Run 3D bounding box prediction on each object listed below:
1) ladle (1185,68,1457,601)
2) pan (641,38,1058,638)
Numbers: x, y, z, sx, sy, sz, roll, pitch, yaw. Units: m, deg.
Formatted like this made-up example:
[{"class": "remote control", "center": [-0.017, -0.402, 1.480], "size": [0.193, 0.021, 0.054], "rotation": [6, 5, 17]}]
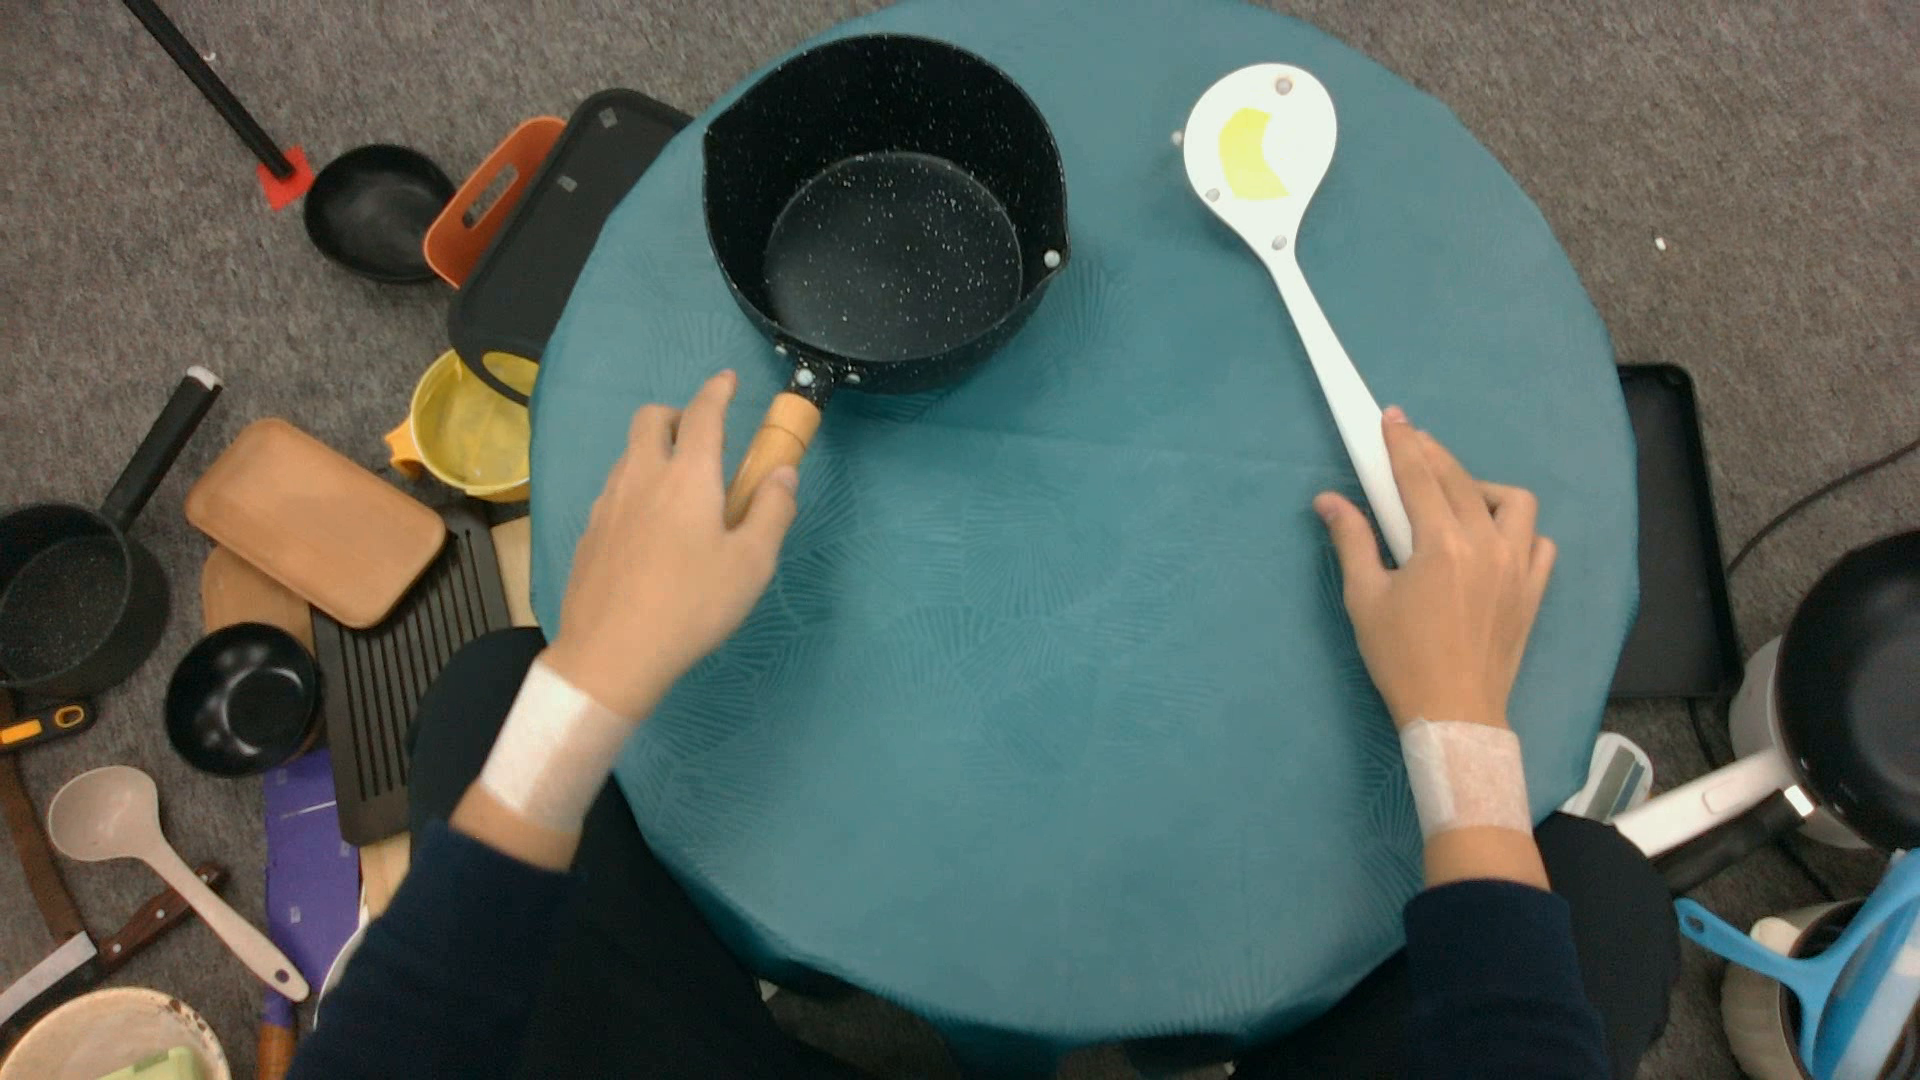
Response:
[{"class": "ladle", "center": [0.200, -0.112, 0.738], "size": [0.090, 0.069, 0.293], "rotation": [-15, 74, -15]}, {"class": "pan", "center": [-0.072, -0.096, 0.707], "size": [0.207, 0.108, 0.344], "rotation": [19, 72, 4]}]
